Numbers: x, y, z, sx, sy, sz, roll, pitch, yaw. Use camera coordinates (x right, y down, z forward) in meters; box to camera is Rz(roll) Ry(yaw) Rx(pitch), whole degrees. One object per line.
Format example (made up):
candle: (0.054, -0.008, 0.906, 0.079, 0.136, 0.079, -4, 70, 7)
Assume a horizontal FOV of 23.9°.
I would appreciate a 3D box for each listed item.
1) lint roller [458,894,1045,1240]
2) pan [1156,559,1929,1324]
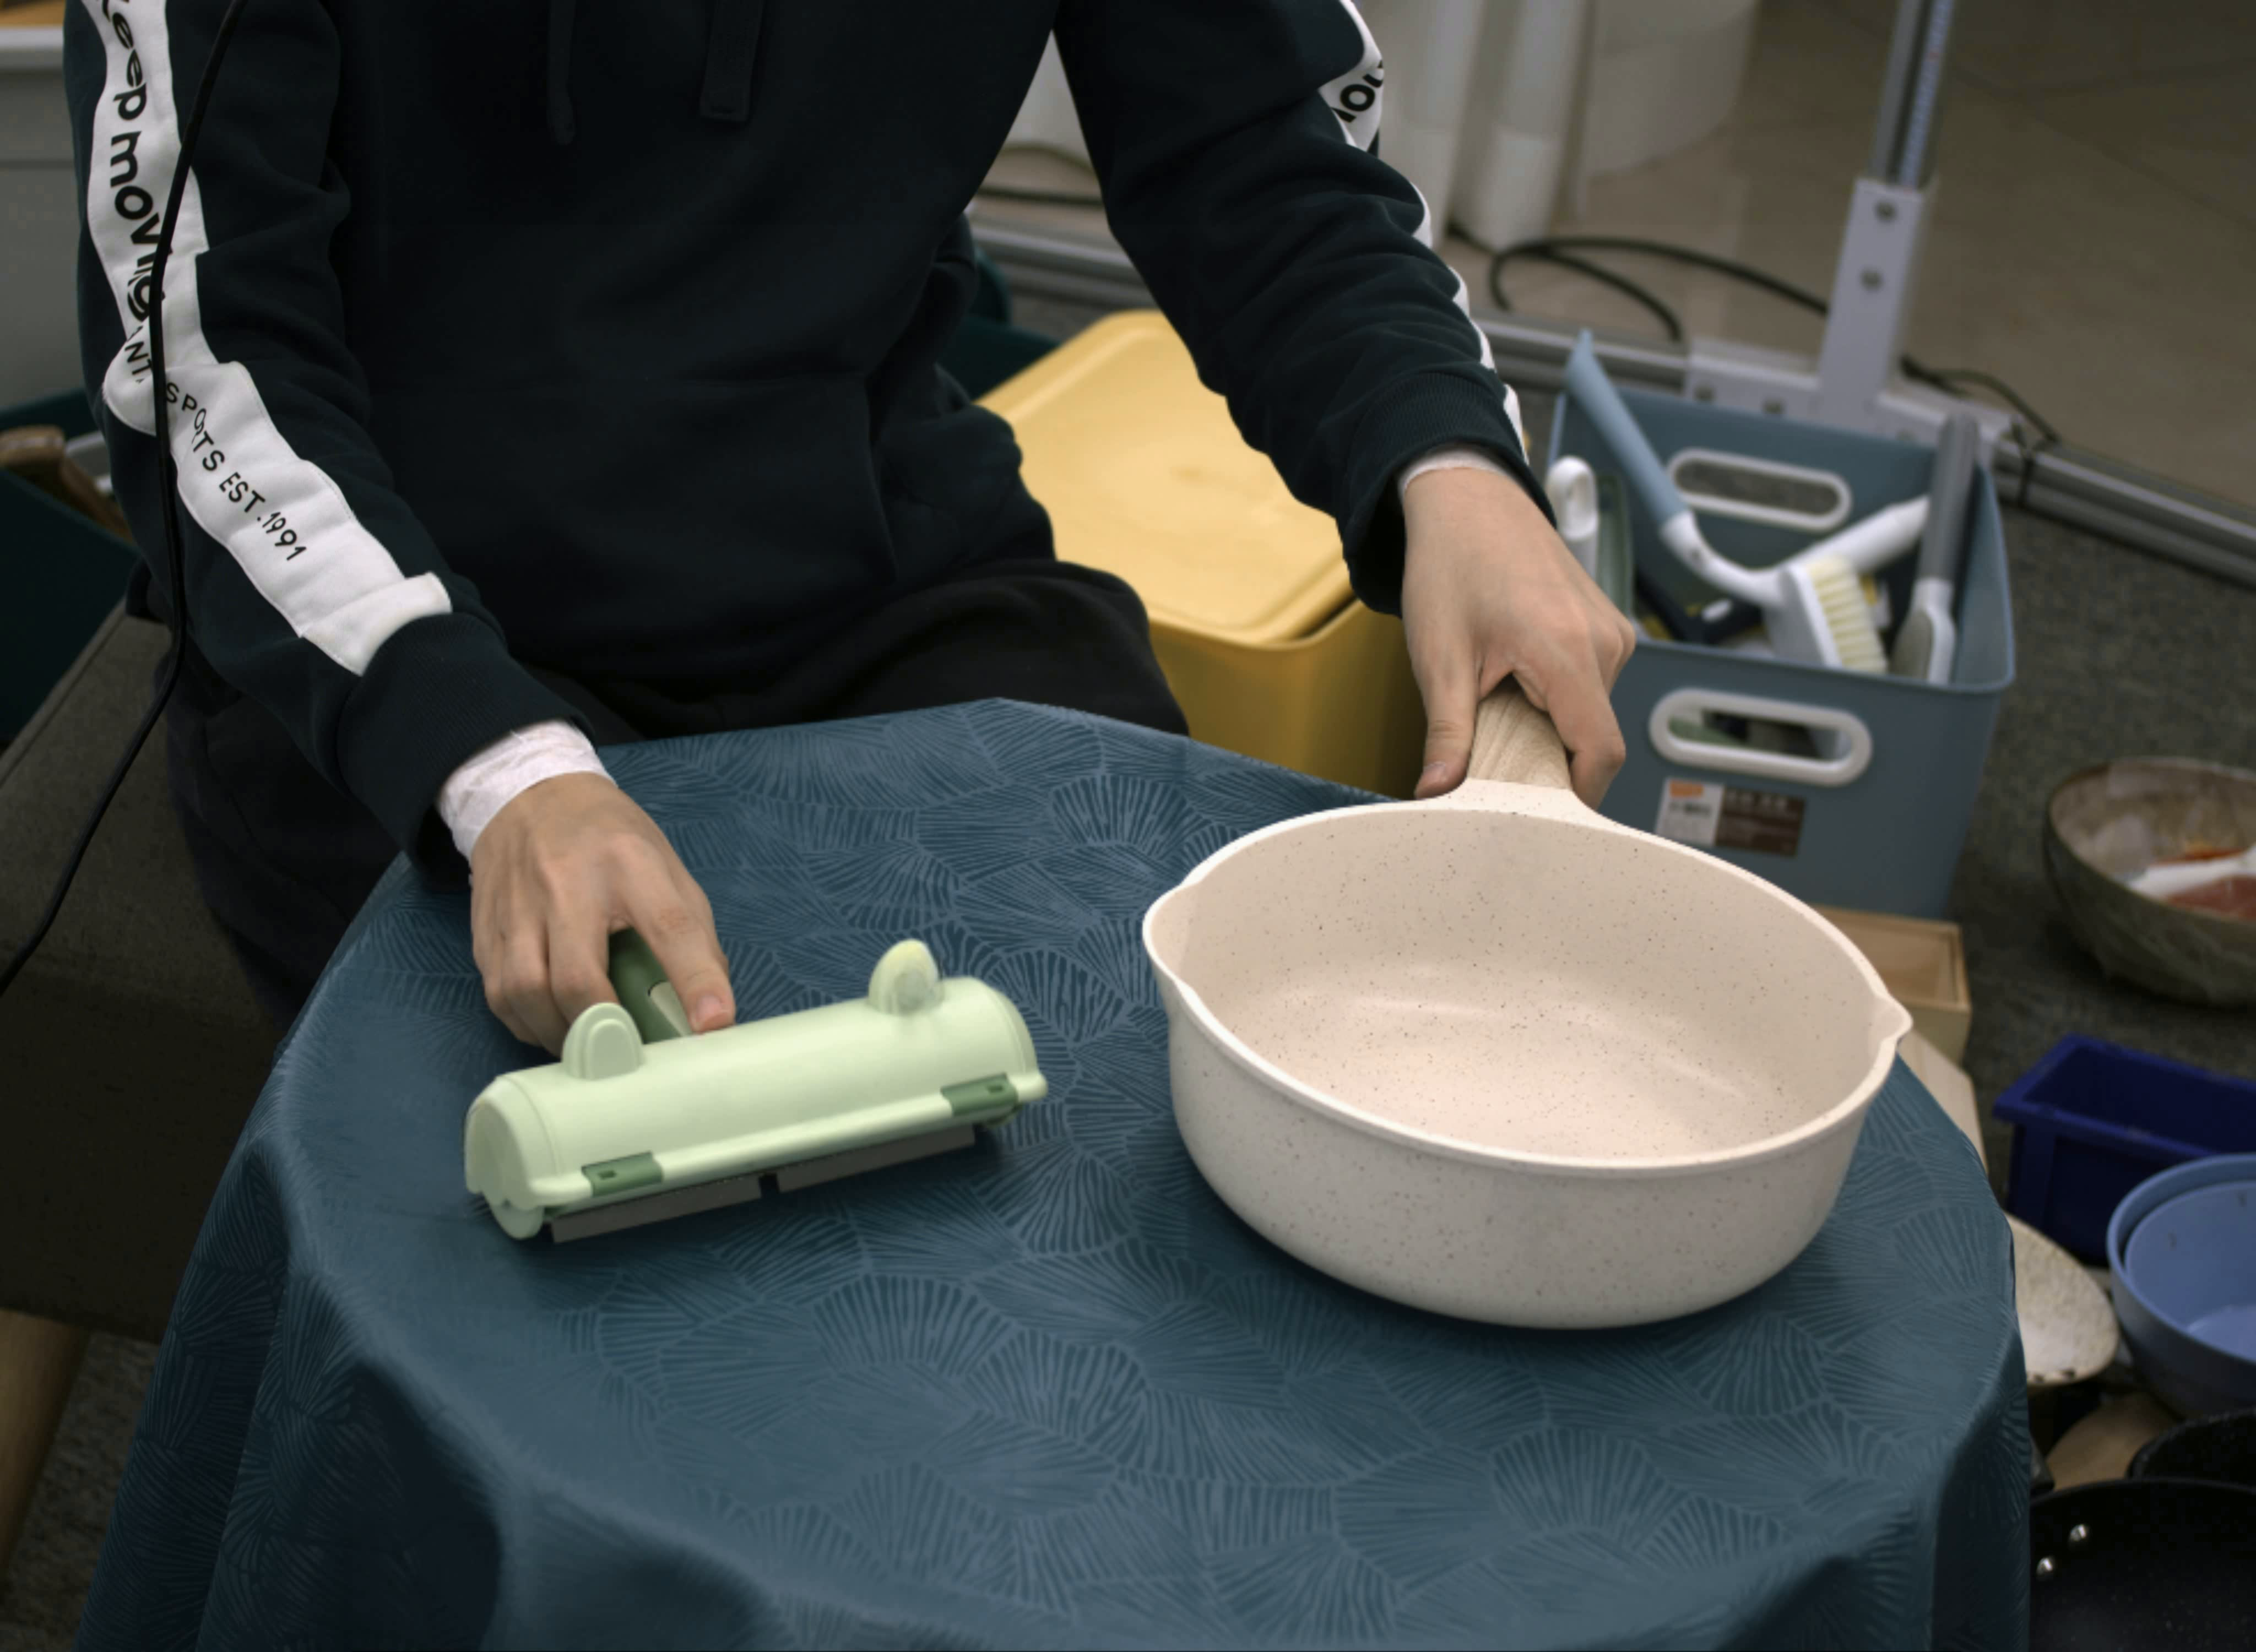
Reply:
lint roller: (-0.152, 0.055, 1.803, 0.197, 0.082, 0.185, -12, 41, -30)
pan: (0.140, 0.037, 1.891, 0.262, 0.101, 0.437, 5, 26, 0)
